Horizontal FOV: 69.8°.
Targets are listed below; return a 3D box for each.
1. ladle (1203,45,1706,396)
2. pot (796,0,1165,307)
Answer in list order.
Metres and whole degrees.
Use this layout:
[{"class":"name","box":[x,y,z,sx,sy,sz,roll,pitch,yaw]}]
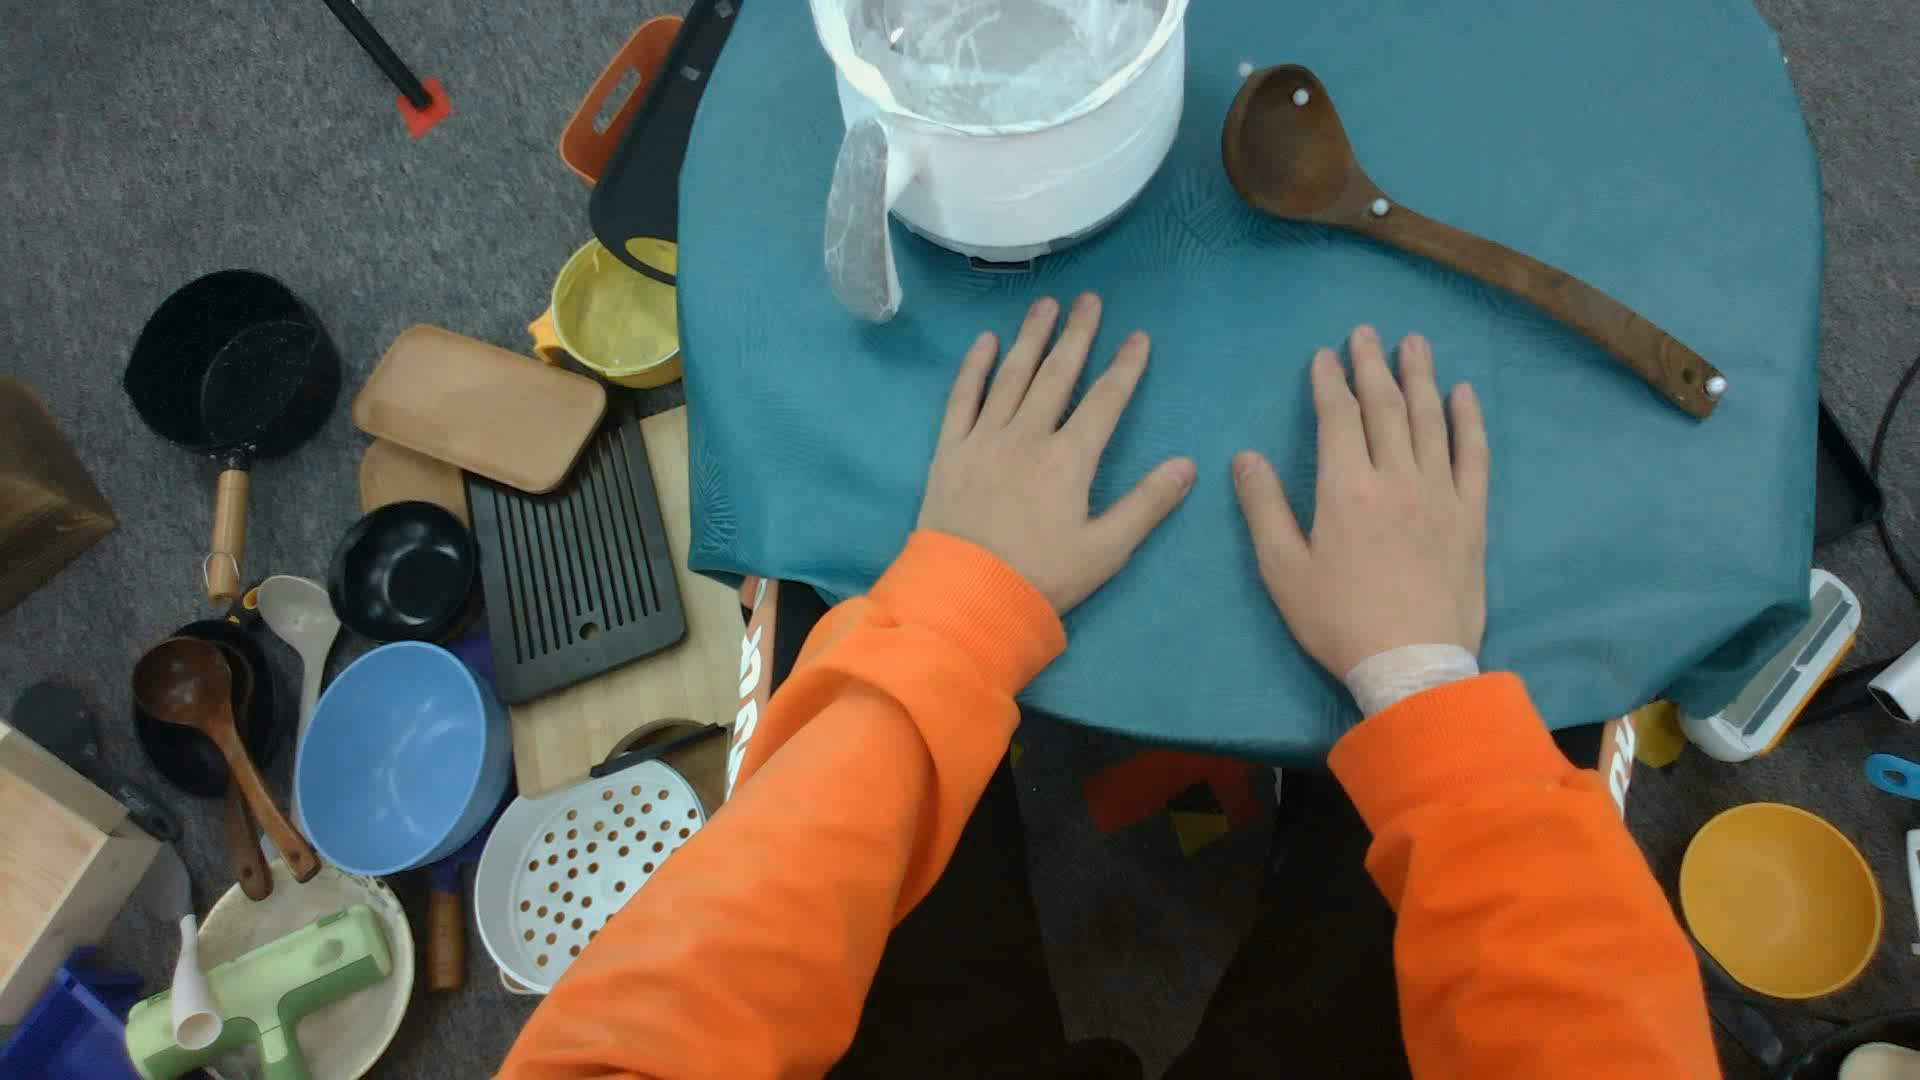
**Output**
[{"class":"ladle","box":[0.245,-0.156,0.677,0.274,0.071,0.076,32,83,14]},{"class":"pot","box":[0.000,-0.229,0.687,0.179,0.136,0.234,31,78,14]}]
